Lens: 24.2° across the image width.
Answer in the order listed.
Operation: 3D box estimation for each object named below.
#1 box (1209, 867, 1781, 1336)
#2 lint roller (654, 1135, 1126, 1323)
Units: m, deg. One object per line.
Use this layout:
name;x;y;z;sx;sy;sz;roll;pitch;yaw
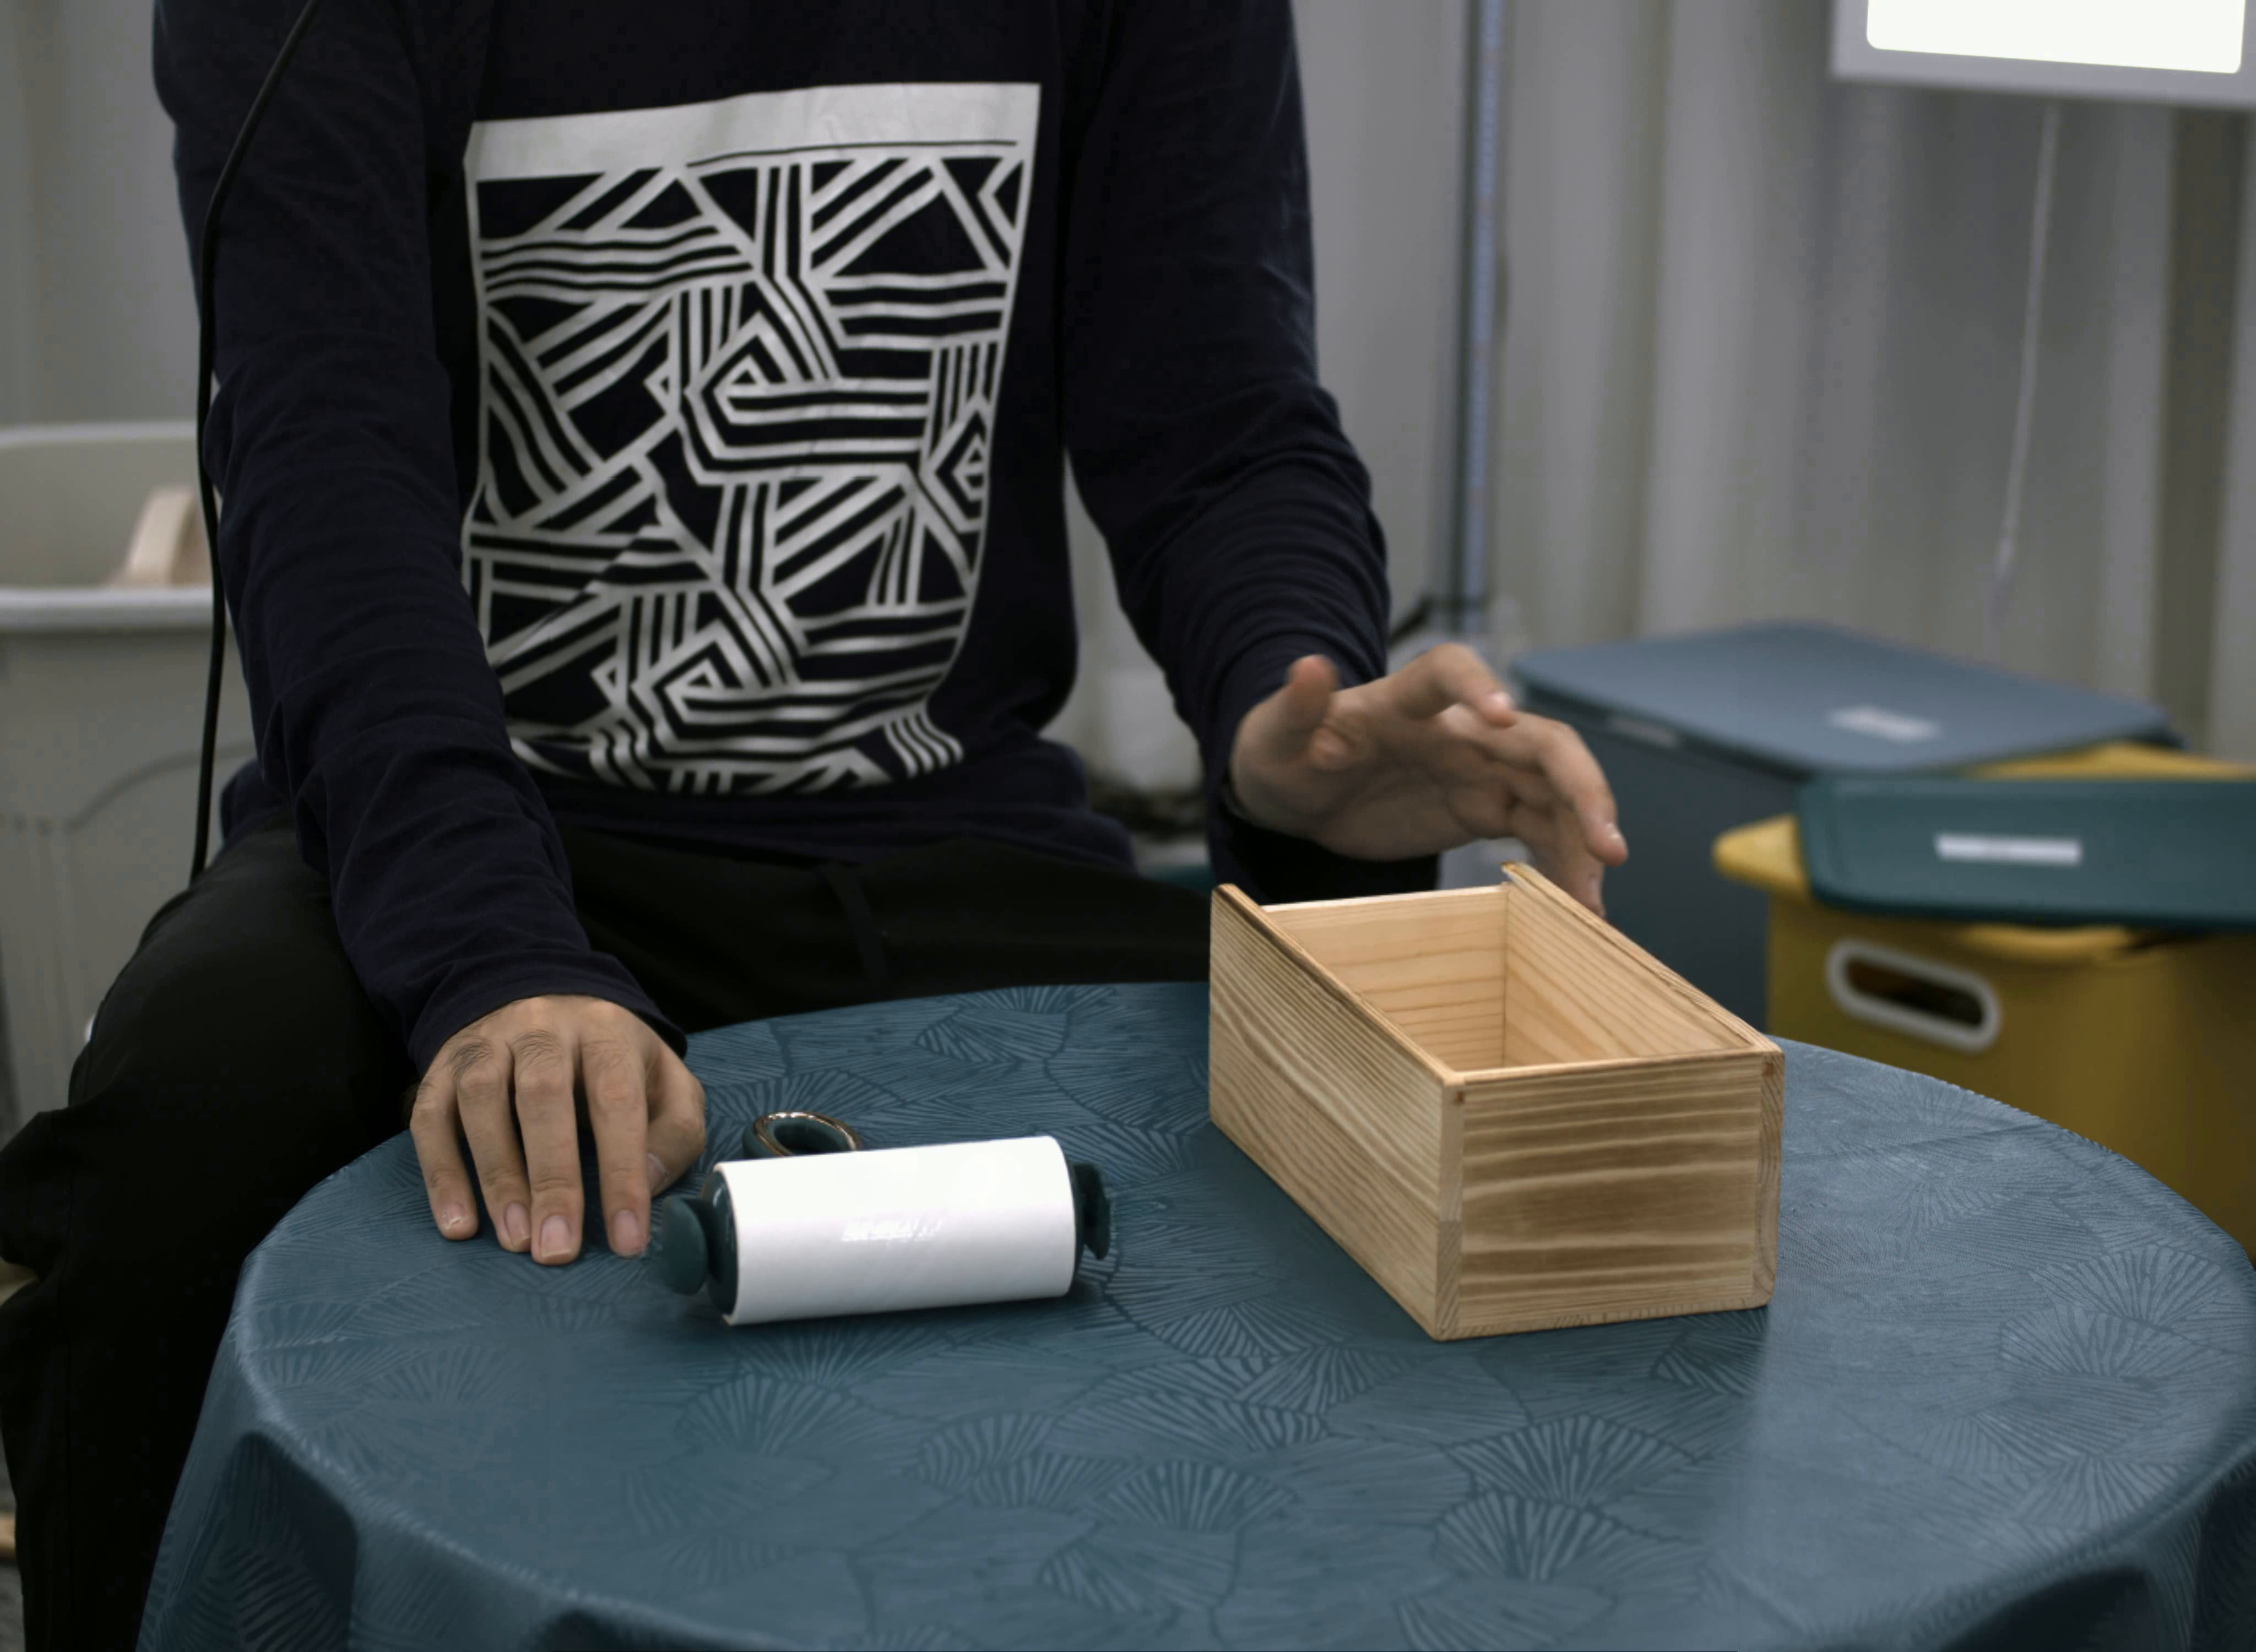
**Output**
box;0.107;0.080;1.598;0.108;0.081;0.209;-5;15;-17
lint roller;-0.087;0.103;1.581;0.134;0.048;0.178;-3;13;-16
